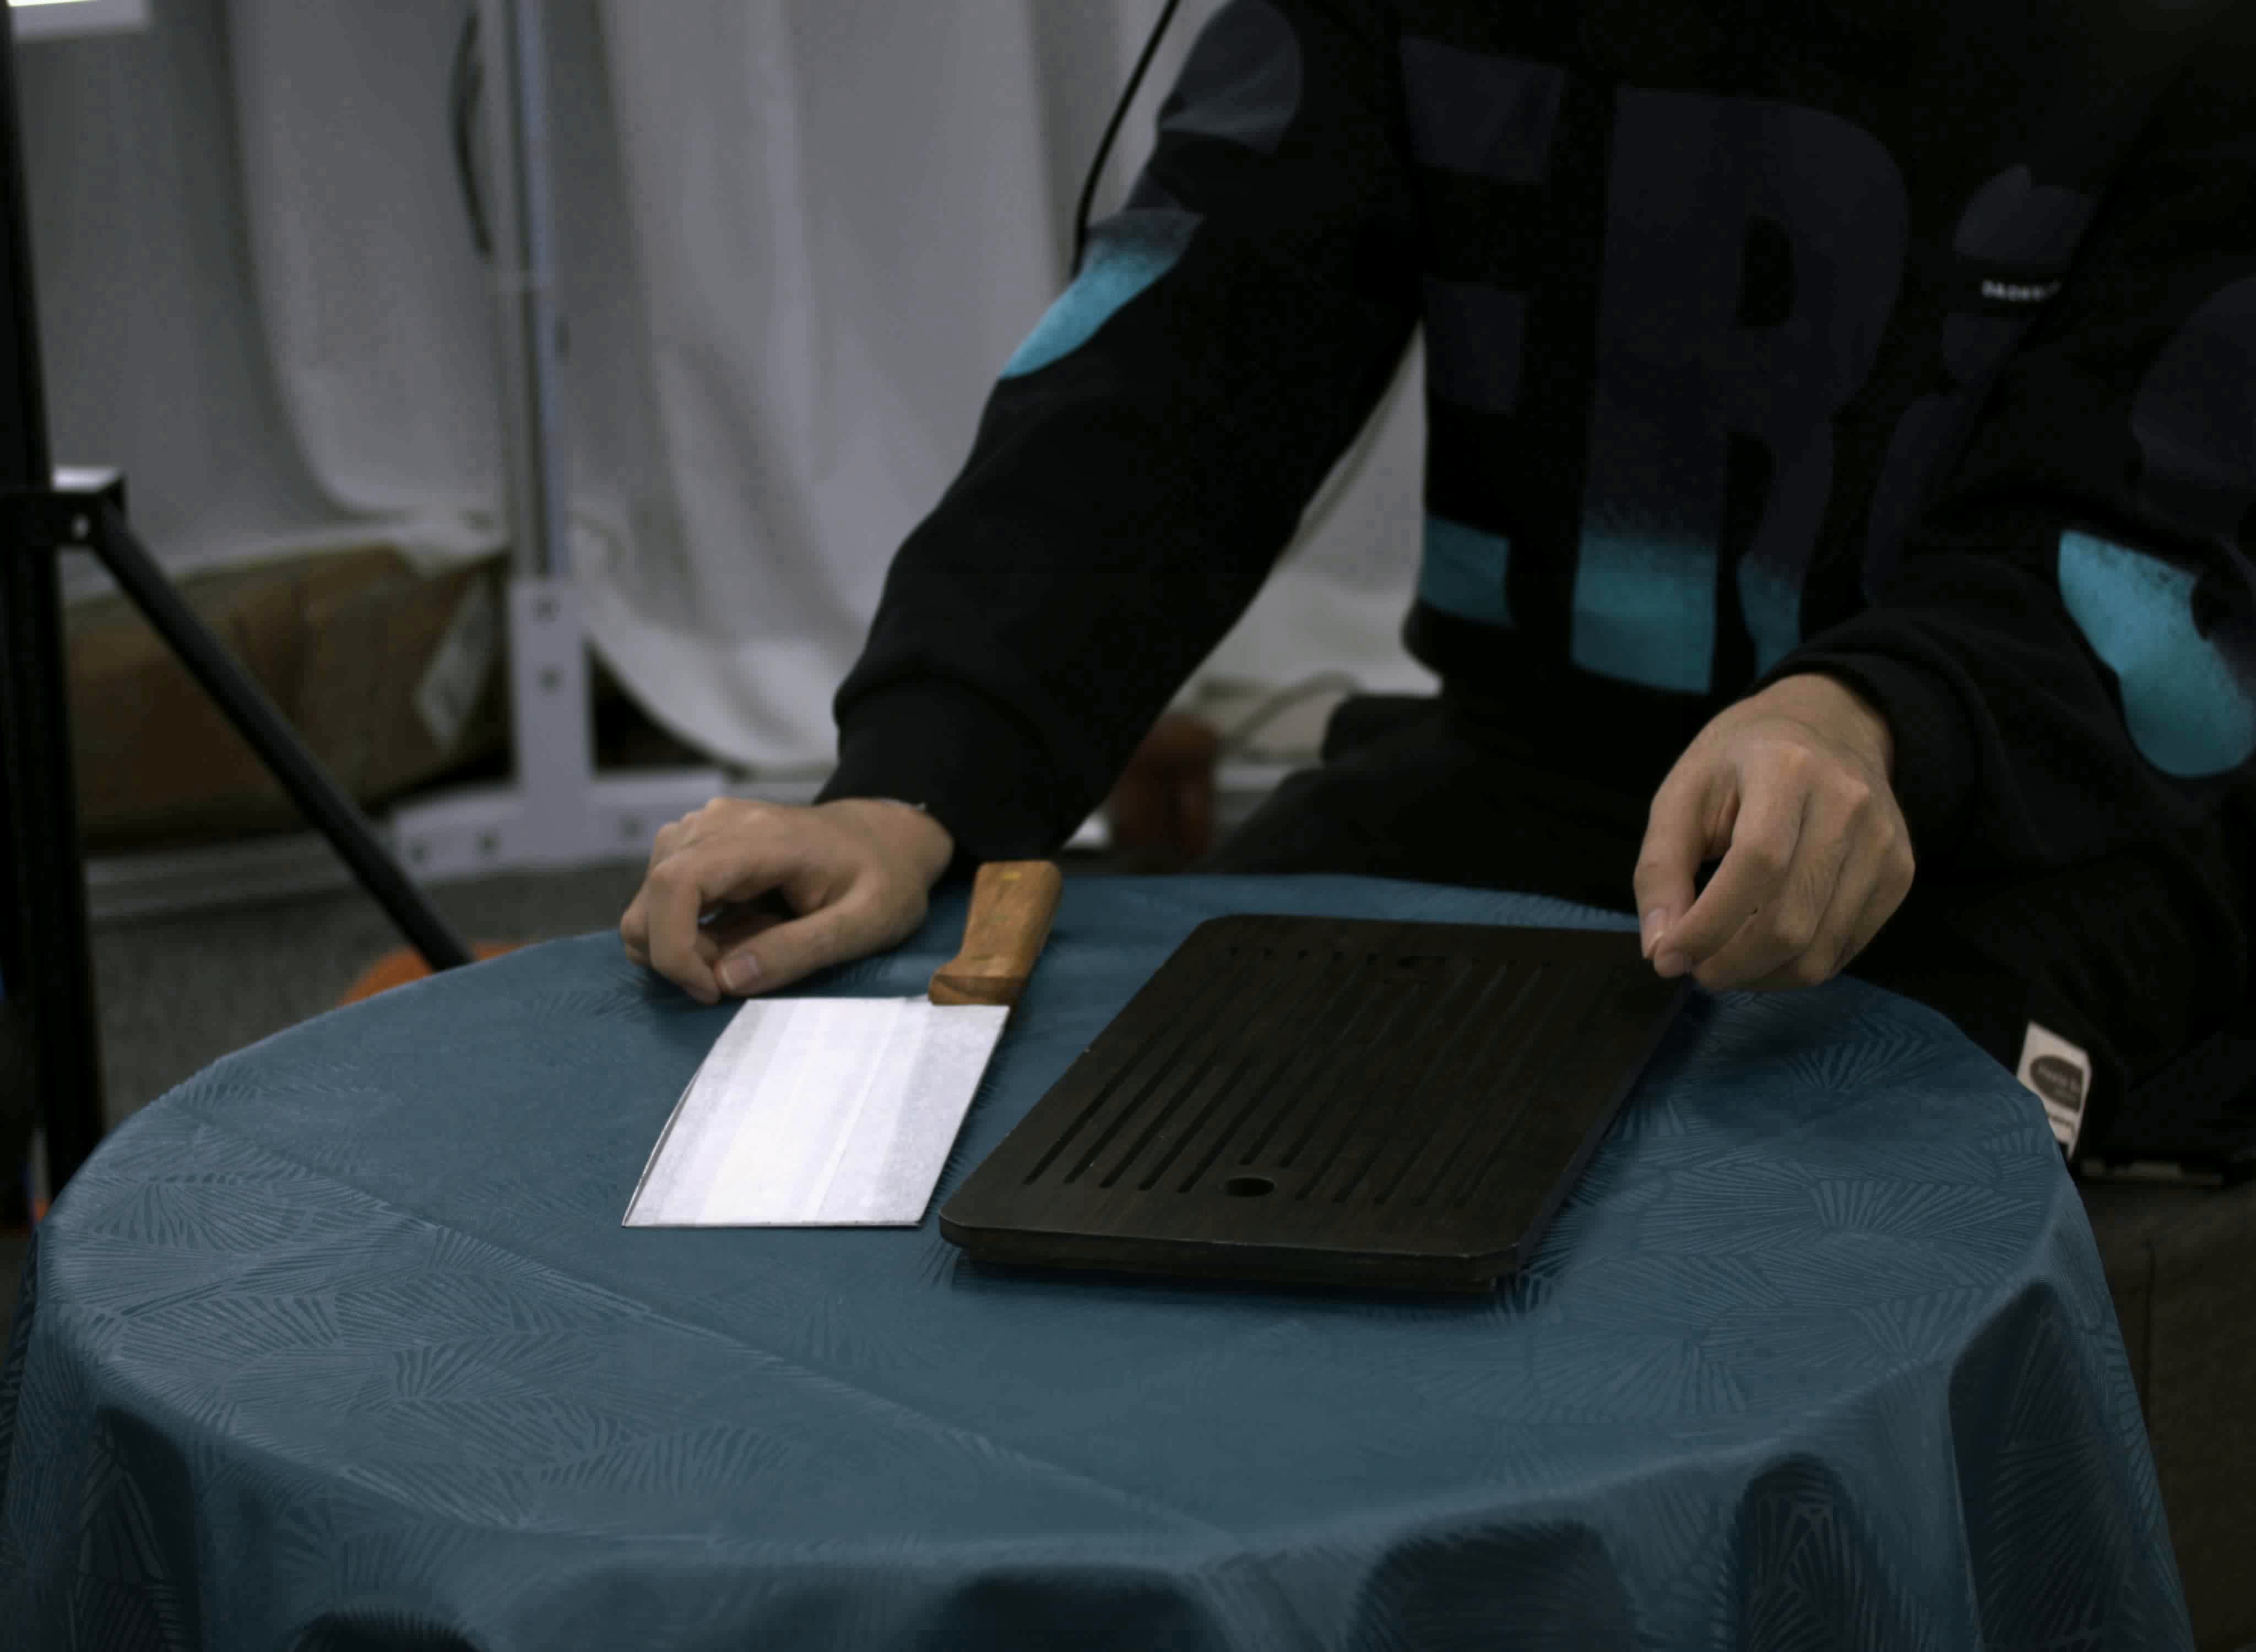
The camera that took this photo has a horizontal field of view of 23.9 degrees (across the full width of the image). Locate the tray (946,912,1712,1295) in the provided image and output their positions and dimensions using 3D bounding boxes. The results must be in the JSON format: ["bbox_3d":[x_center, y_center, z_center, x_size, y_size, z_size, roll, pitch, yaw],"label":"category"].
[{"bbox_3d":[0.069,0.081,1.607,0.172,0.018,0.303,2,16,17],"label":"tray"}]

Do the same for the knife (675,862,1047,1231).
[{"bbox_3d":[-0.083,0.068,1.685,0.093,0.021,0.305,-2,18,8],"label":"knife"}]
